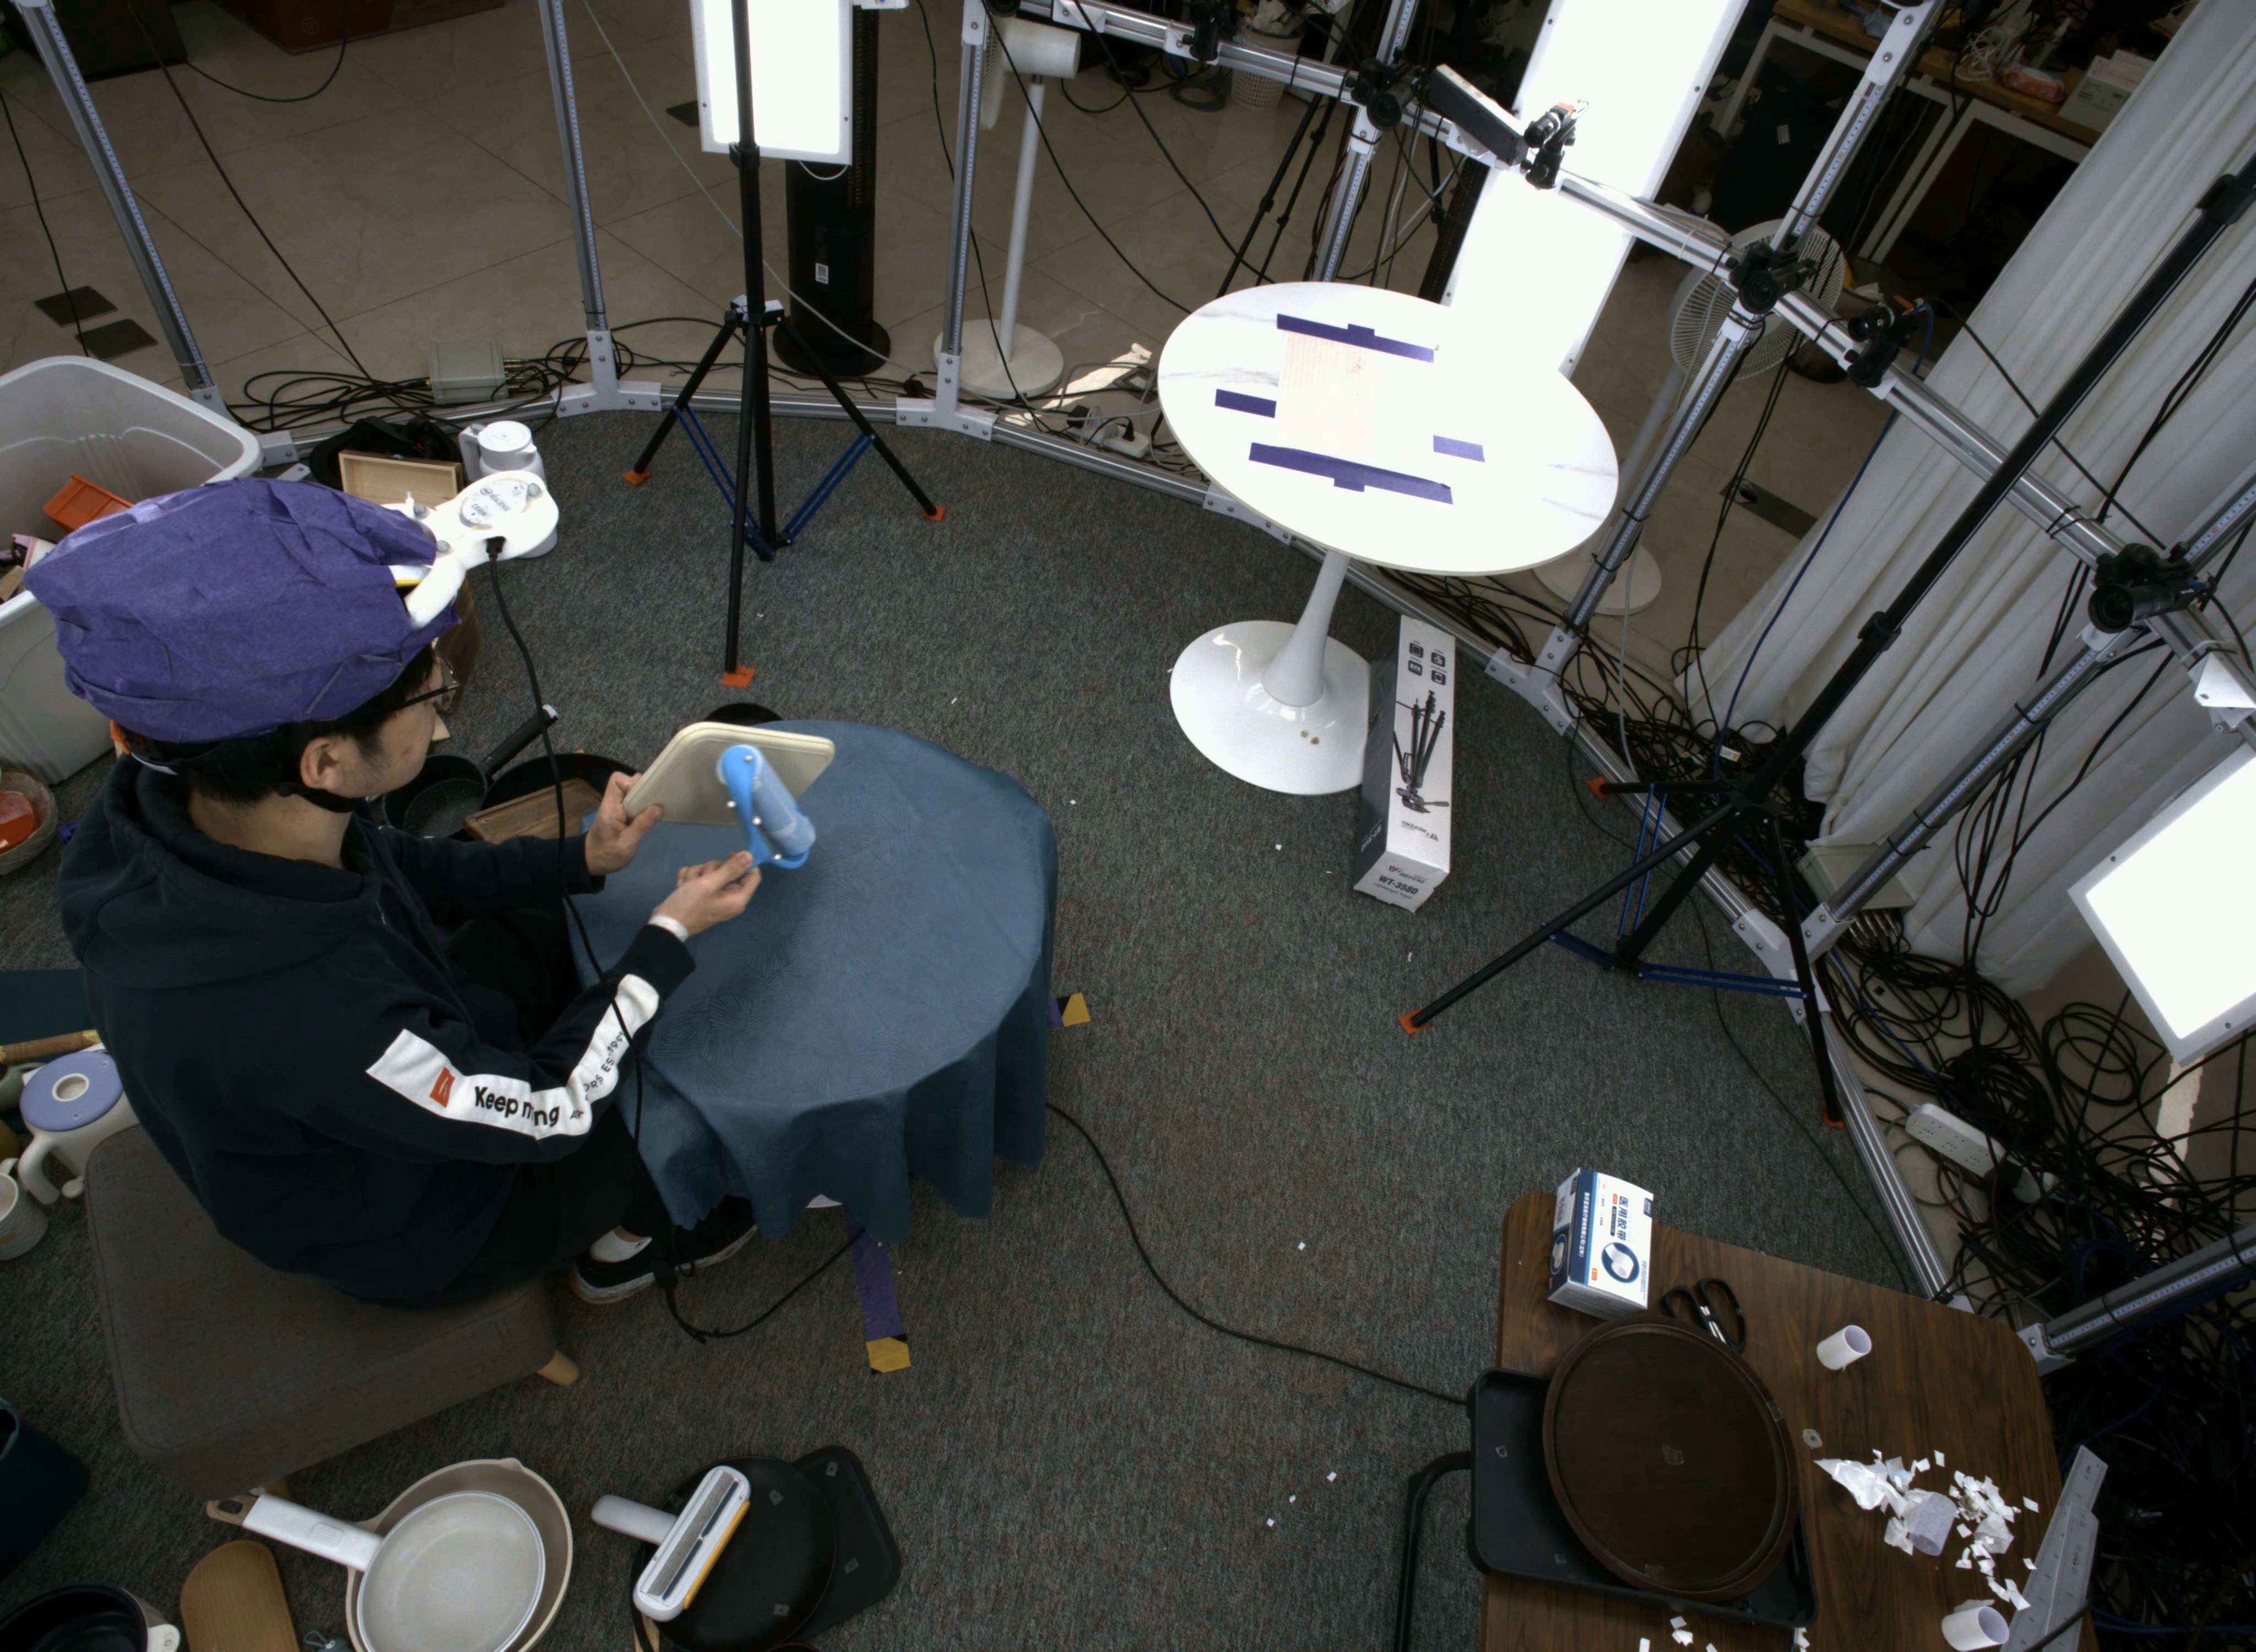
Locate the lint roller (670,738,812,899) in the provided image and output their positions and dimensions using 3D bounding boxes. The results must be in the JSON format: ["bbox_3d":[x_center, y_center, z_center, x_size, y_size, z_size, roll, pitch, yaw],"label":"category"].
[{"bbox_3d":[-0.458,0.017,1.507,0.066,0.234,0.180,25,73,16],"label":"lint roller"}]

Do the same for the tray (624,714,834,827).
[{"bbox_3d":[-0.474,-0.060,1.547,0.245,0.171,0.017,5,45,-57],"label":"tray"}]
